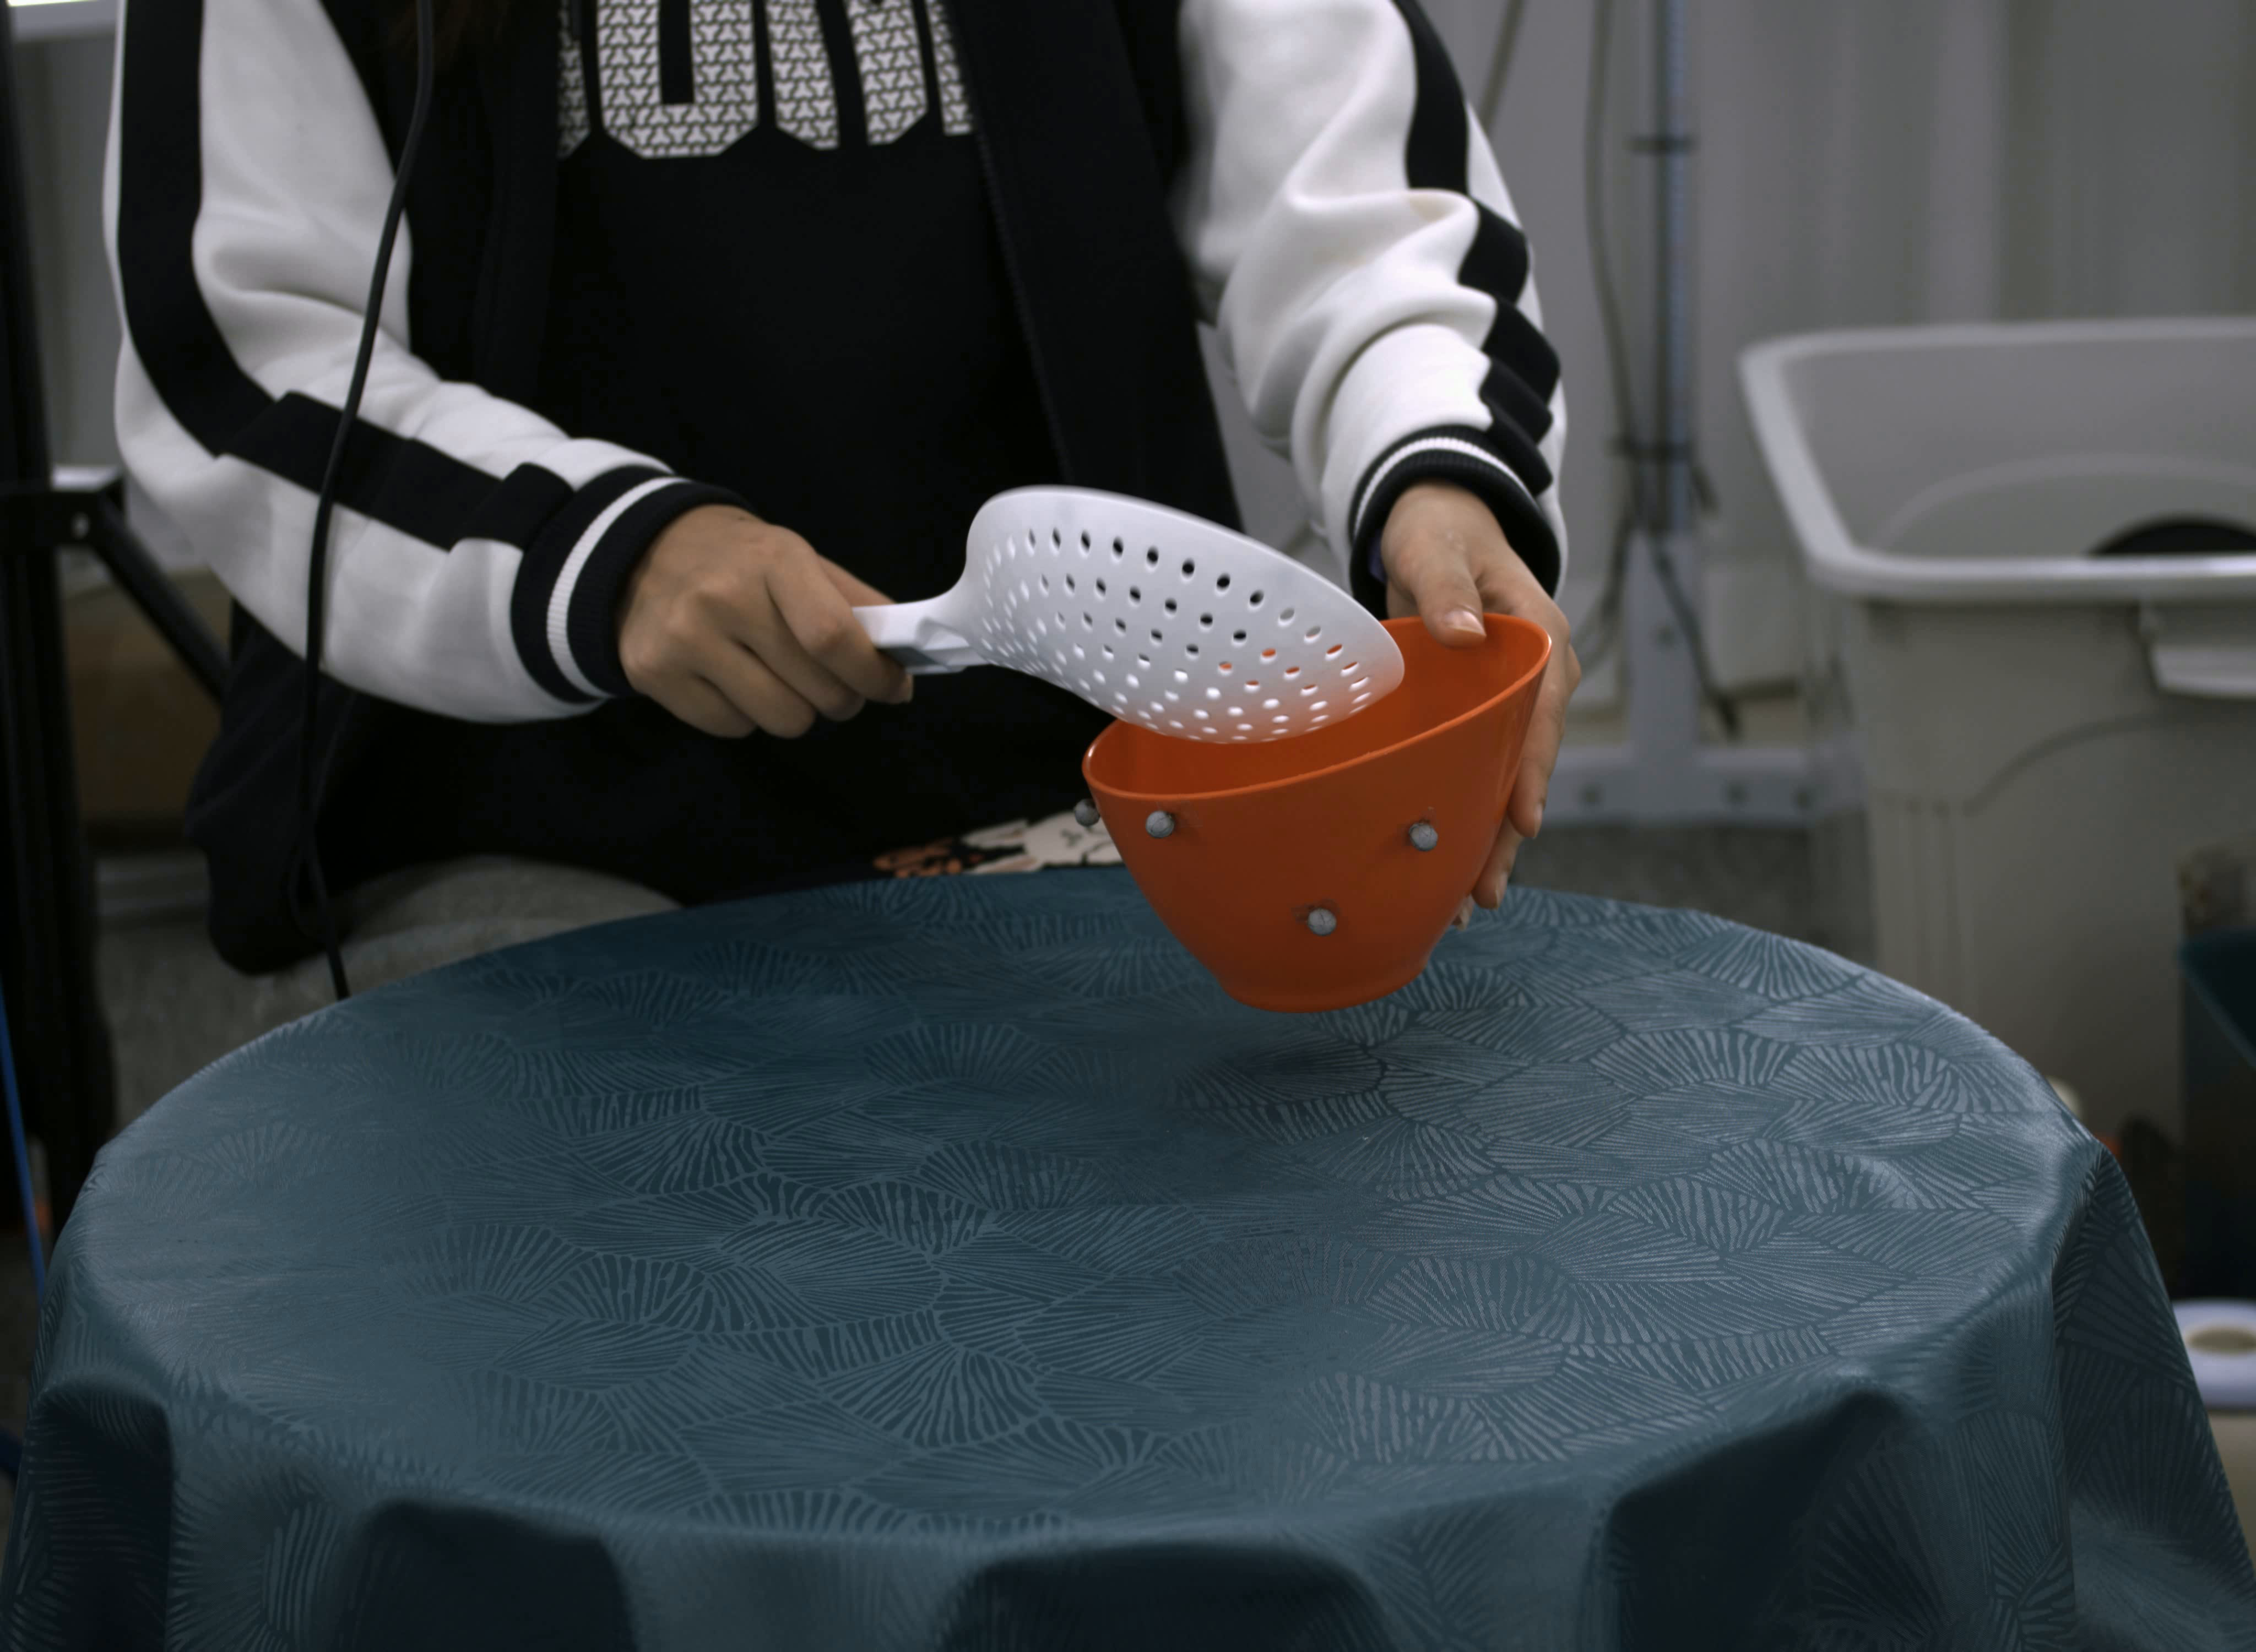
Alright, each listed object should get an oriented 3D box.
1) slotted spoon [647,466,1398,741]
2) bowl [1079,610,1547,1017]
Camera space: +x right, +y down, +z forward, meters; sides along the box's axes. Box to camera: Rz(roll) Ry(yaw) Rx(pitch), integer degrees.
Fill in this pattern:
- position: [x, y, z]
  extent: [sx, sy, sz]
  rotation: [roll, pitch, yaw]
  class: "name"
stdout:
- position: [-0.050, -0.061, 1.680]
  extent: [0.133, 0.046, 0.357]
  rotation: [36, -17, -30]
  class: "slotted spoon"
- position: [0.062, 0.000, 1.634]
  extent: [0.148, 0.104, 0.149]
  rotation: [-10, 23, 3]
  class: "bowl"
